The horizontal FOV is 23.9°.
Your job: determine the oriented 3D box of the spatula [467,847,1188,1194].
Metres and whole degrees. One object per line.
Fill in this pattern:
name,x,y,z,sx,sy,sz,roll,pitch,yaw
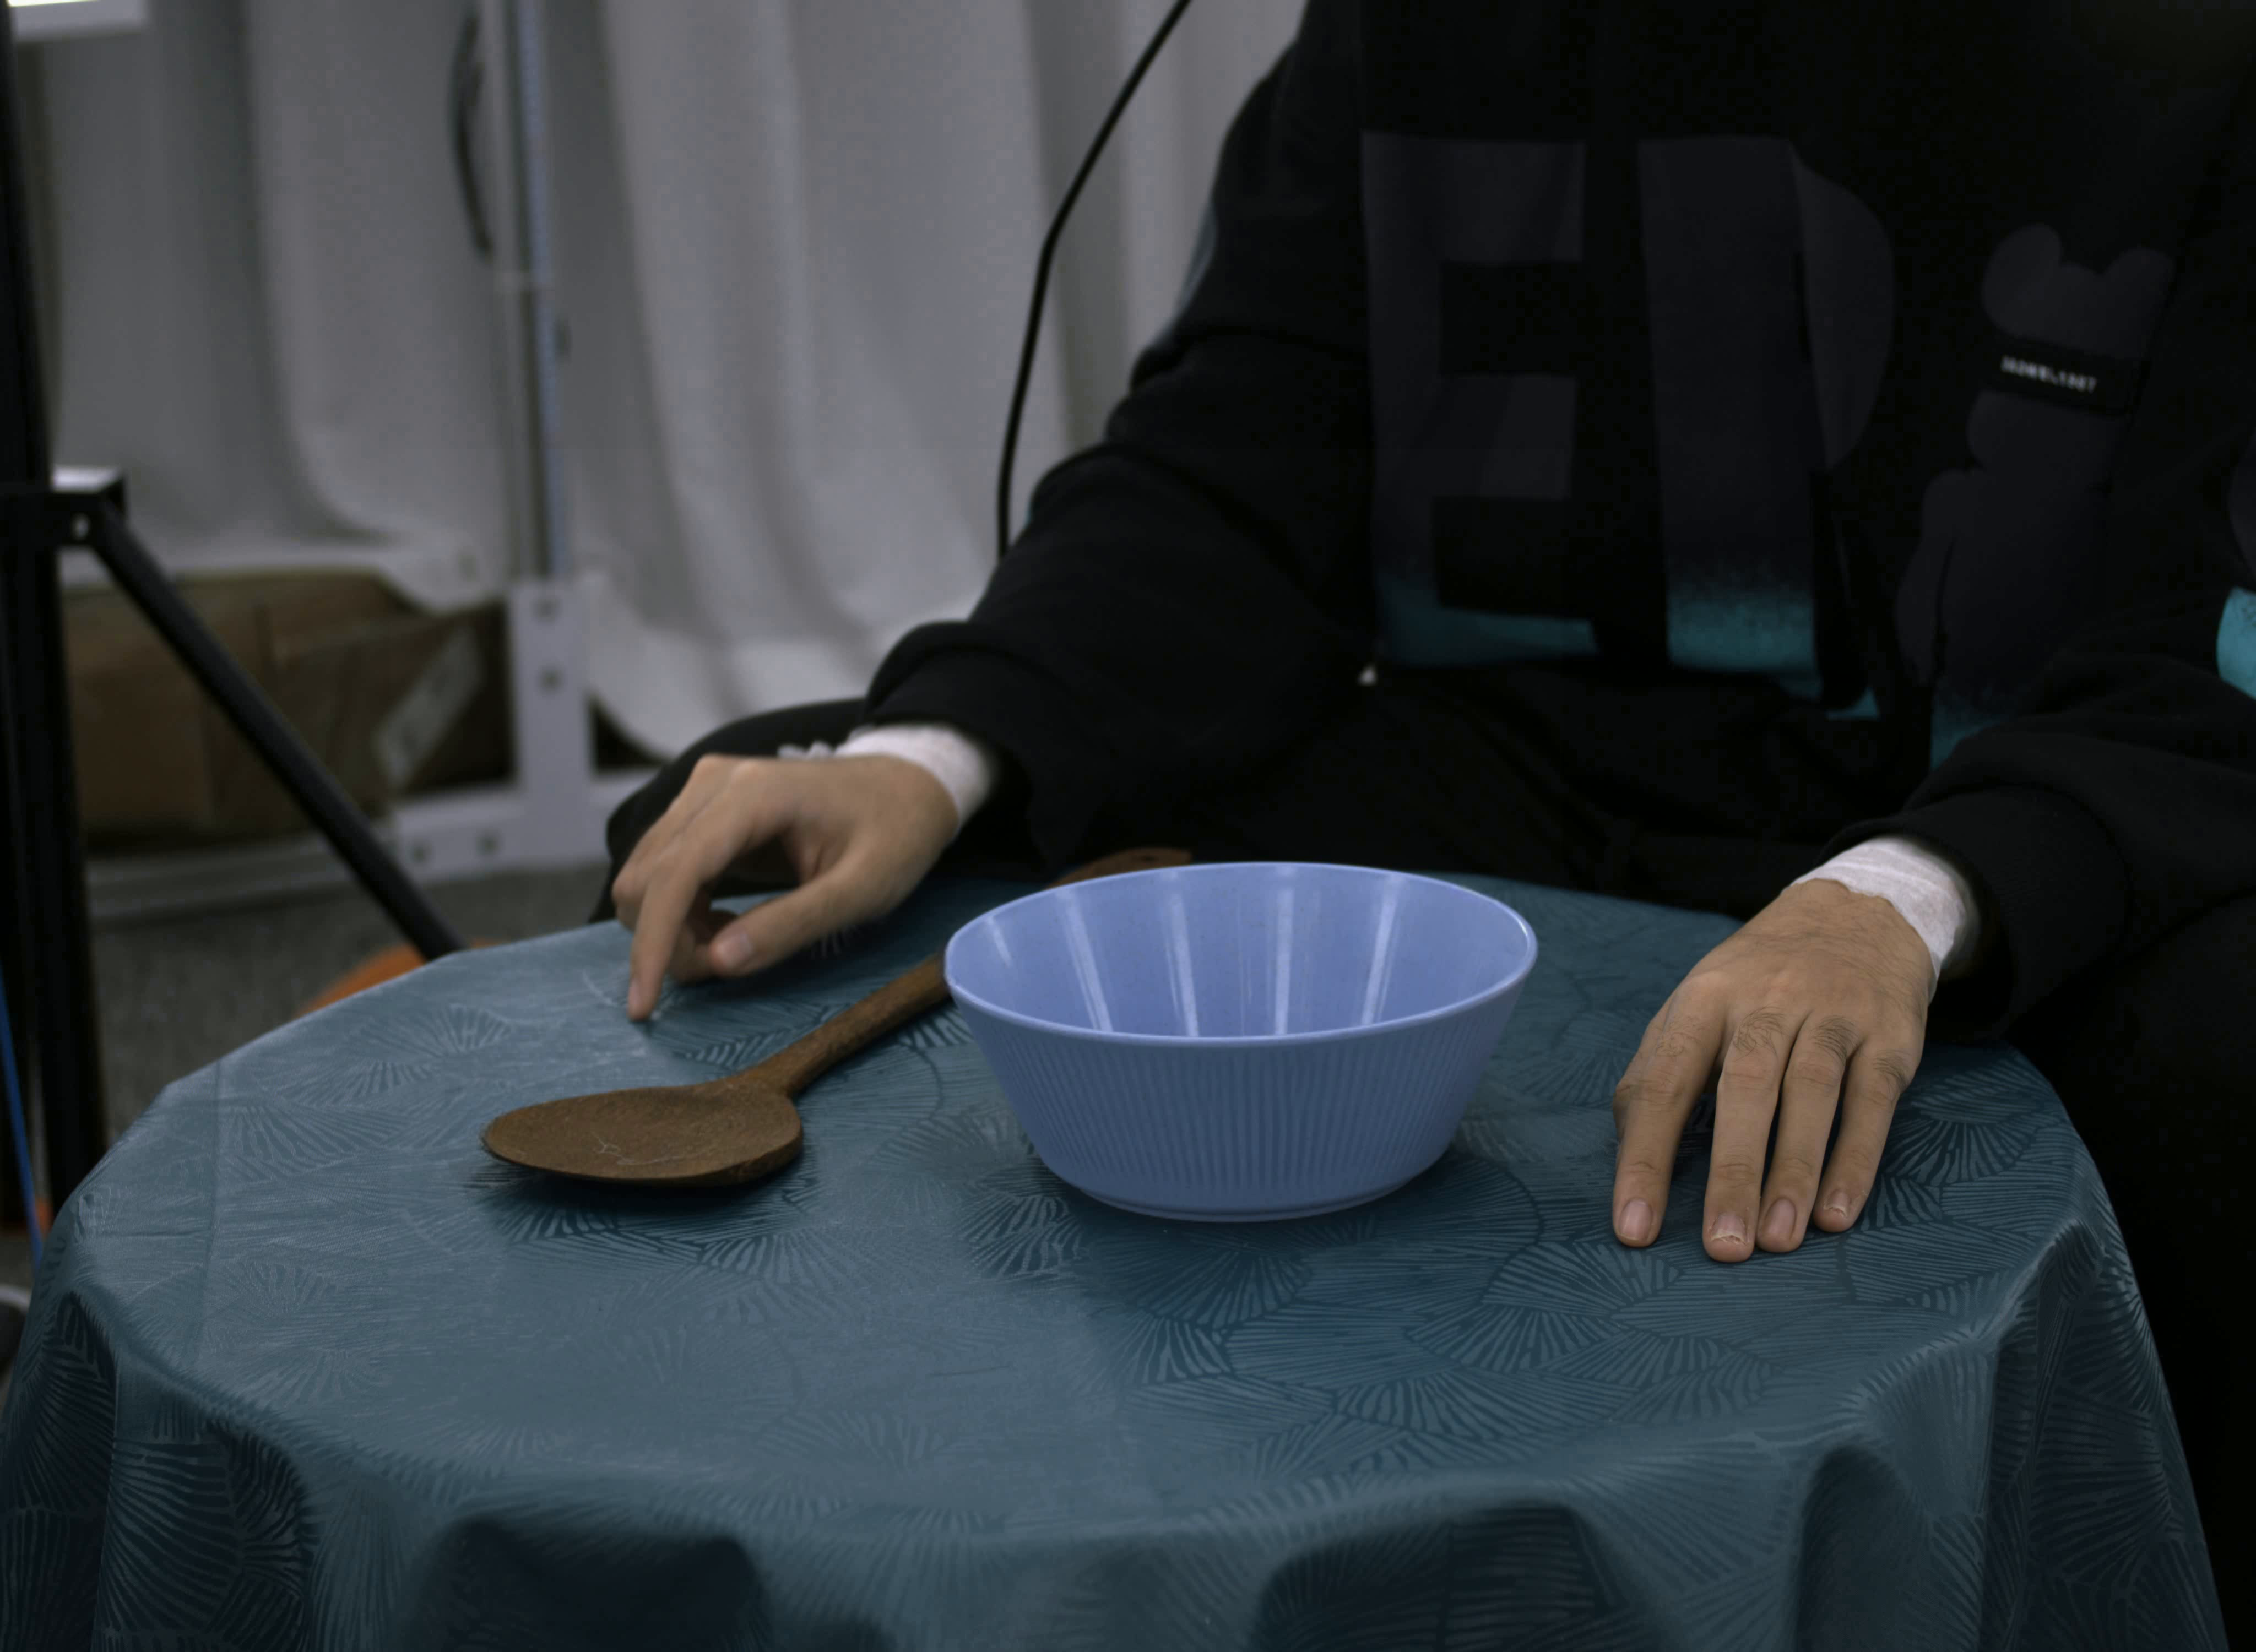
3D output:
spatula,-0.075,0.057,1.724,0.098,0.016,0.379,7,18,28

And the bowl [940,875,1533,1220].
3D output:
bowl,0.032,0.068,1.569,0.175,0.070,0.177,-2,15,-1
